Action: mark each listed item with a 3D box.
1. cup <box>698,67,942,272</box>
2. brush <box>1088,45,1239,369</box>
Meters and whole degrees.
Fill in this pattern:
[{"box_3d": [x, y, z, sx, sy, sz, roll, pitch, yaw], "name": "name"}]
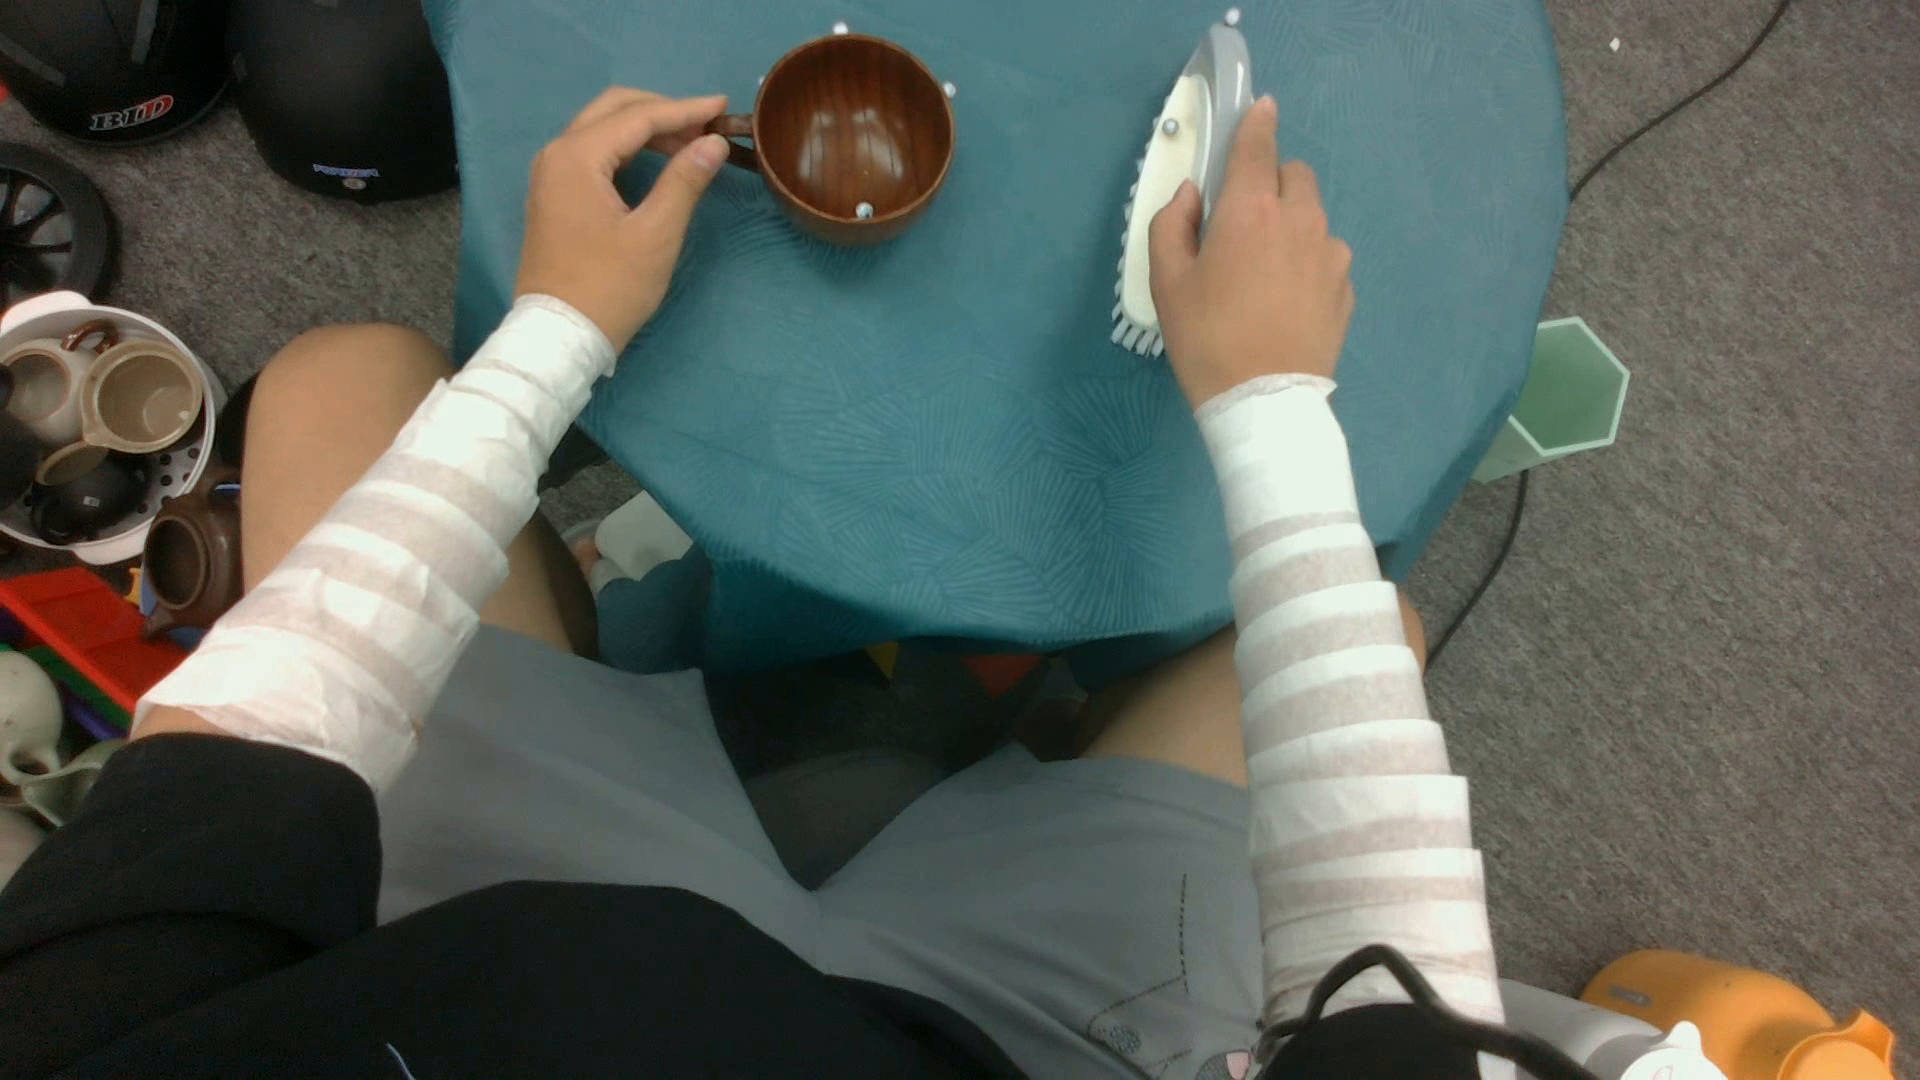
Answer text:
[{"box_3d": [-0.071, -0.179, 0.693, 0.119, 0.067, 0.096, -3, 82, -6], "name": "cup"}, {"box_3d": [0.112, -0.183, 0.698, 0.061, 0.094, 0.176, 14, 73, -8], "name": "brush"}]
